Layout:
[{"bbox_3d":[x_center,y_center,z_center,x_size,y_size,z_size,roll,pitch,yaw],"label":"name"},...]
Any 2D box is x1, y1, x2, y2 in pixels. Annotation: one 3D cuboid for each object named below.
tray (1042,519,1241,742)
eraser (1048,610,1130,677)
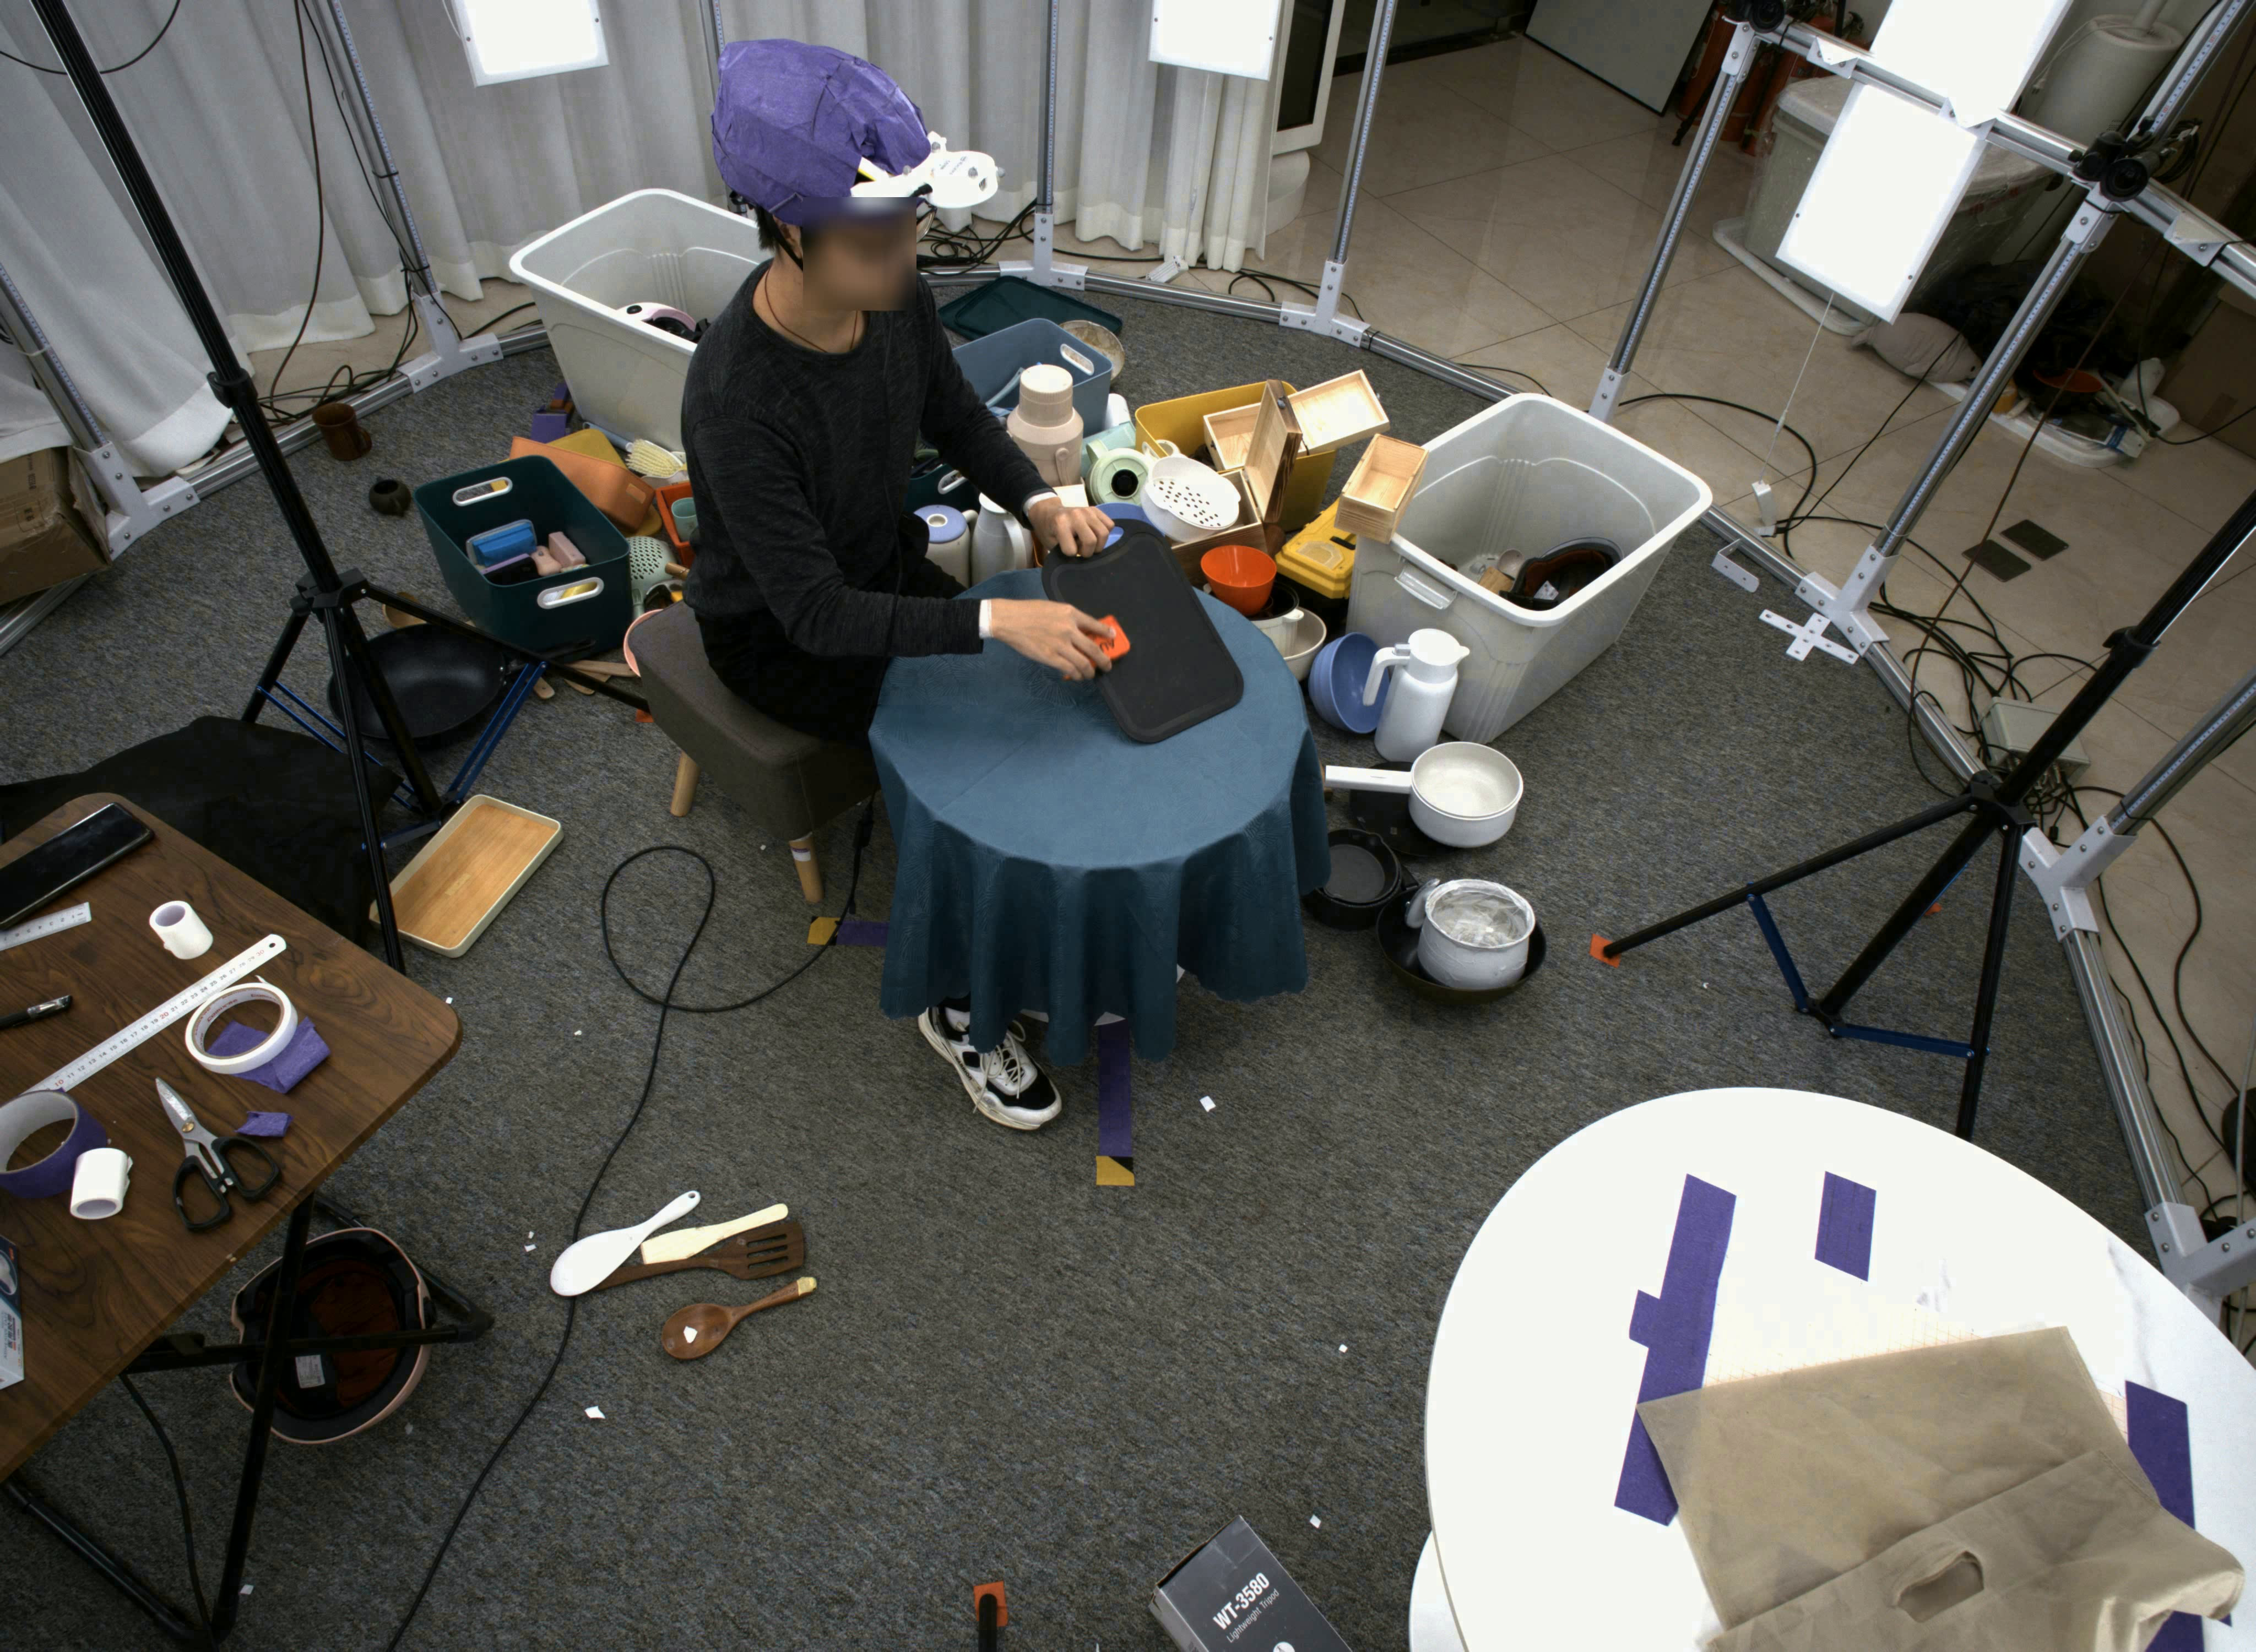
[{"bbox_3d":[0.017,-0.286,1.820,0.212,0.009,0.327,-25,82,-24],"label":"tray"},{"bbox_3d":[-0.053,-0.253,1.774,0.108,0.022,0.059,-29,79,-22],"label":"eraser"}]
